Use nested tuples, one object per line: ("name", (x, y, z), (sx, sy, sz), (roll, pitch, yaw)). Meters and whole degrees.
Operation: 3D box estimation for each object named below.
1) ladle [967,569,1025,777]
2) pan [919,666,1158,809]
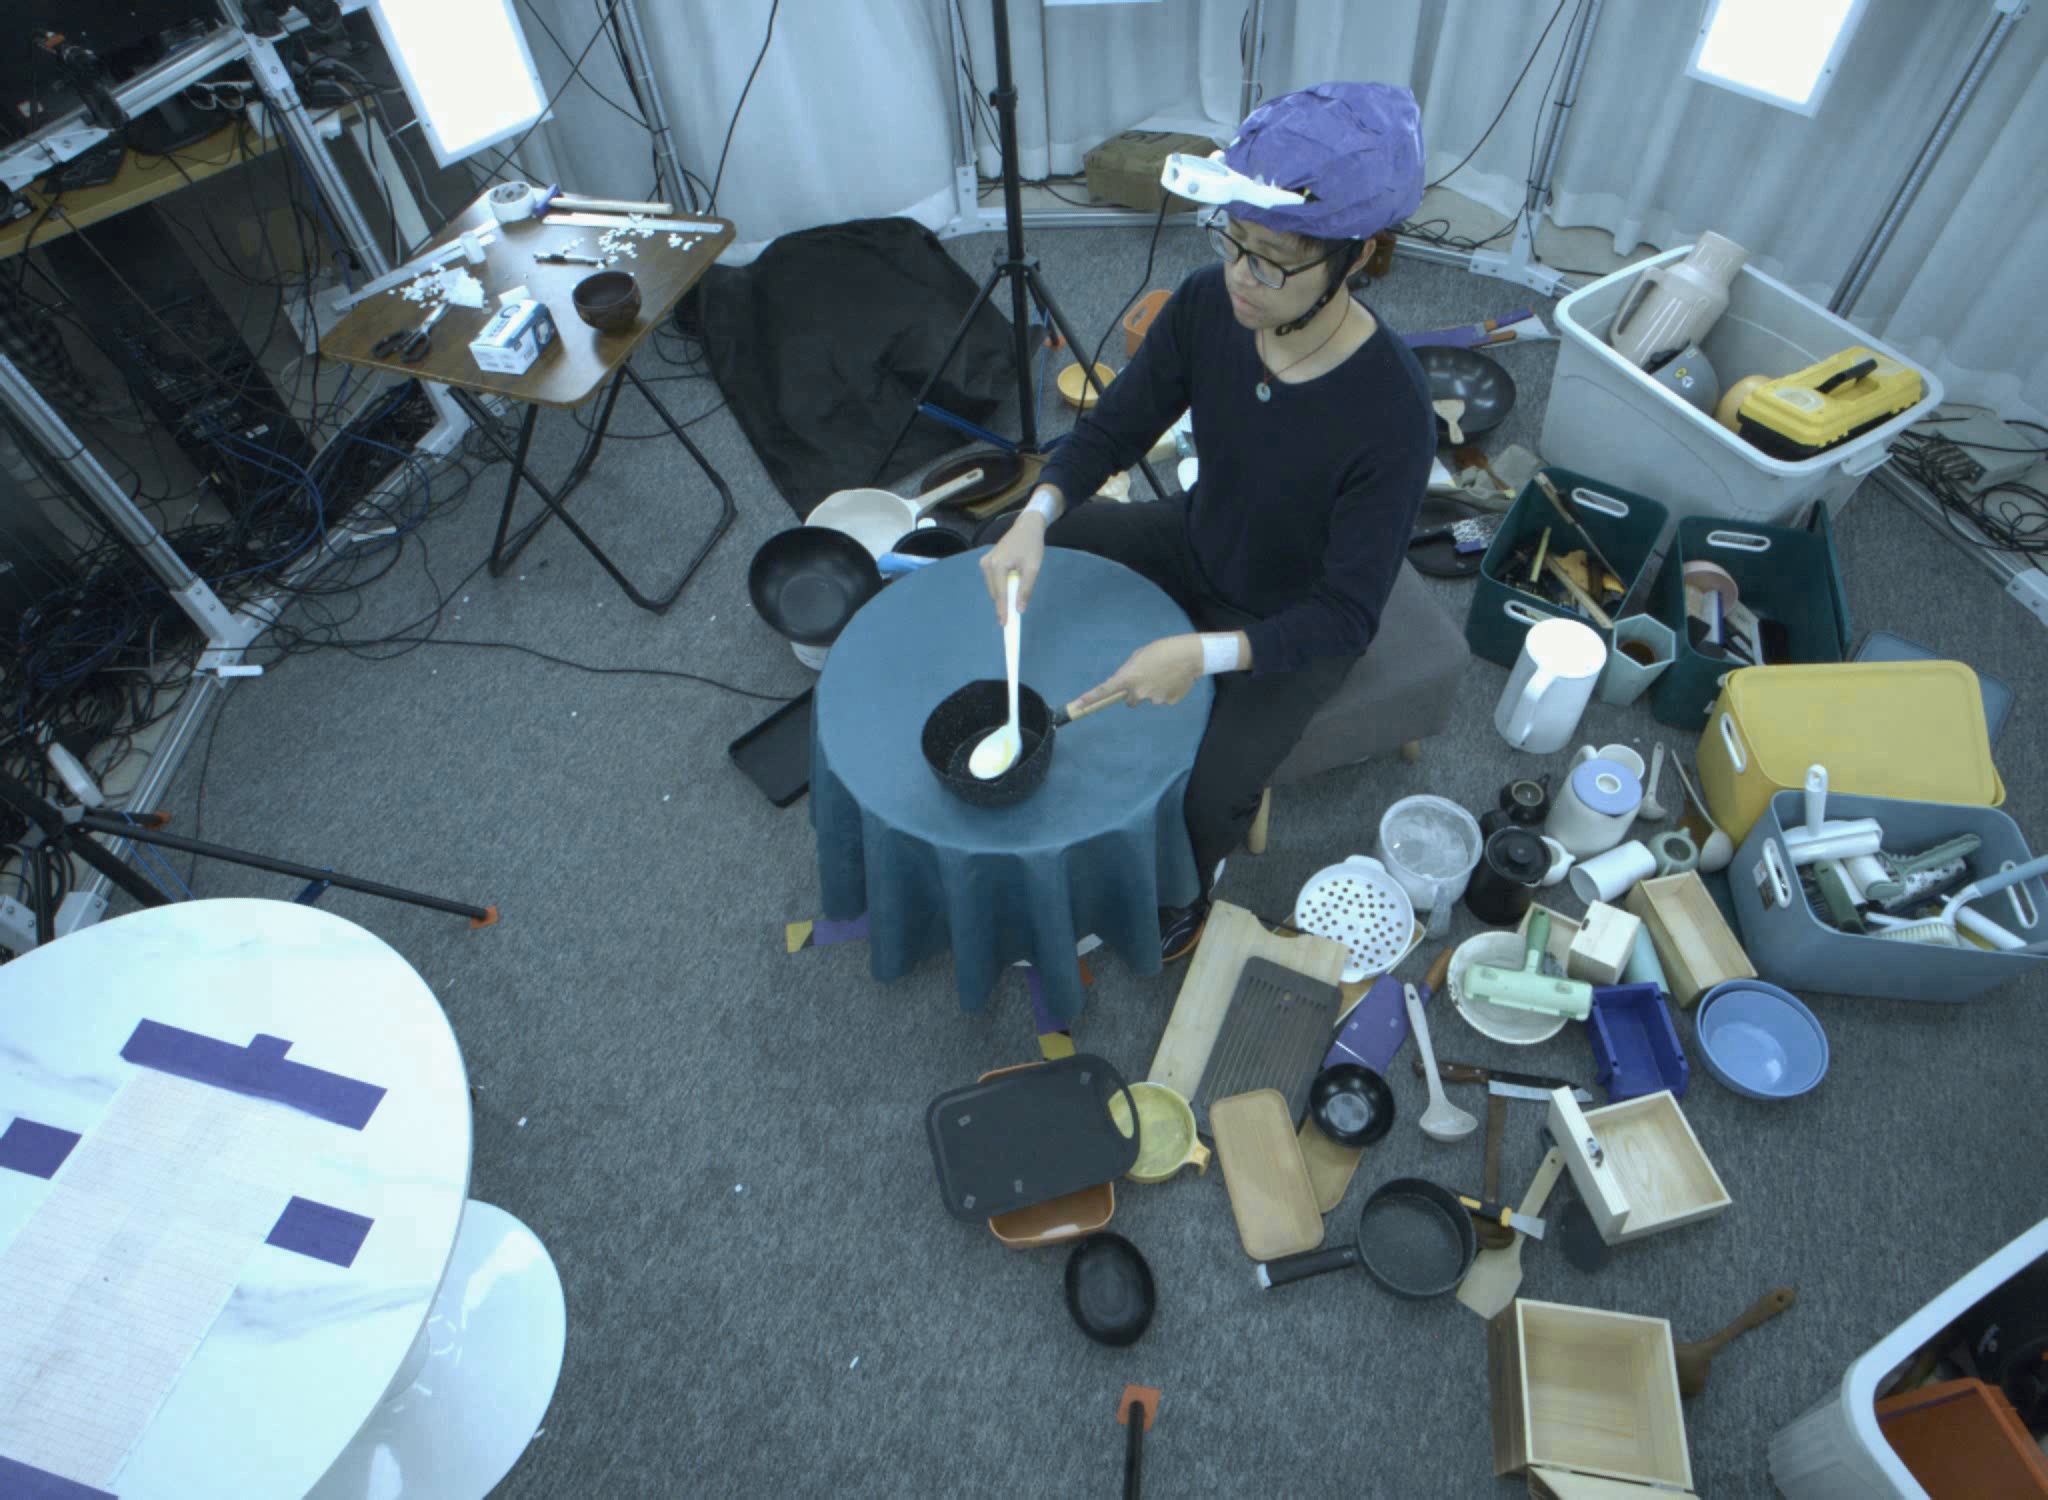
("ladle", (-0.038, -0.107, 1.722), (0.071, 0.294, 0.088), (-2, 10, -28))
("pan", (0.028, -0.033, 1.716), (0.342, 0.110, 0.204), (-17, 49, 2))
